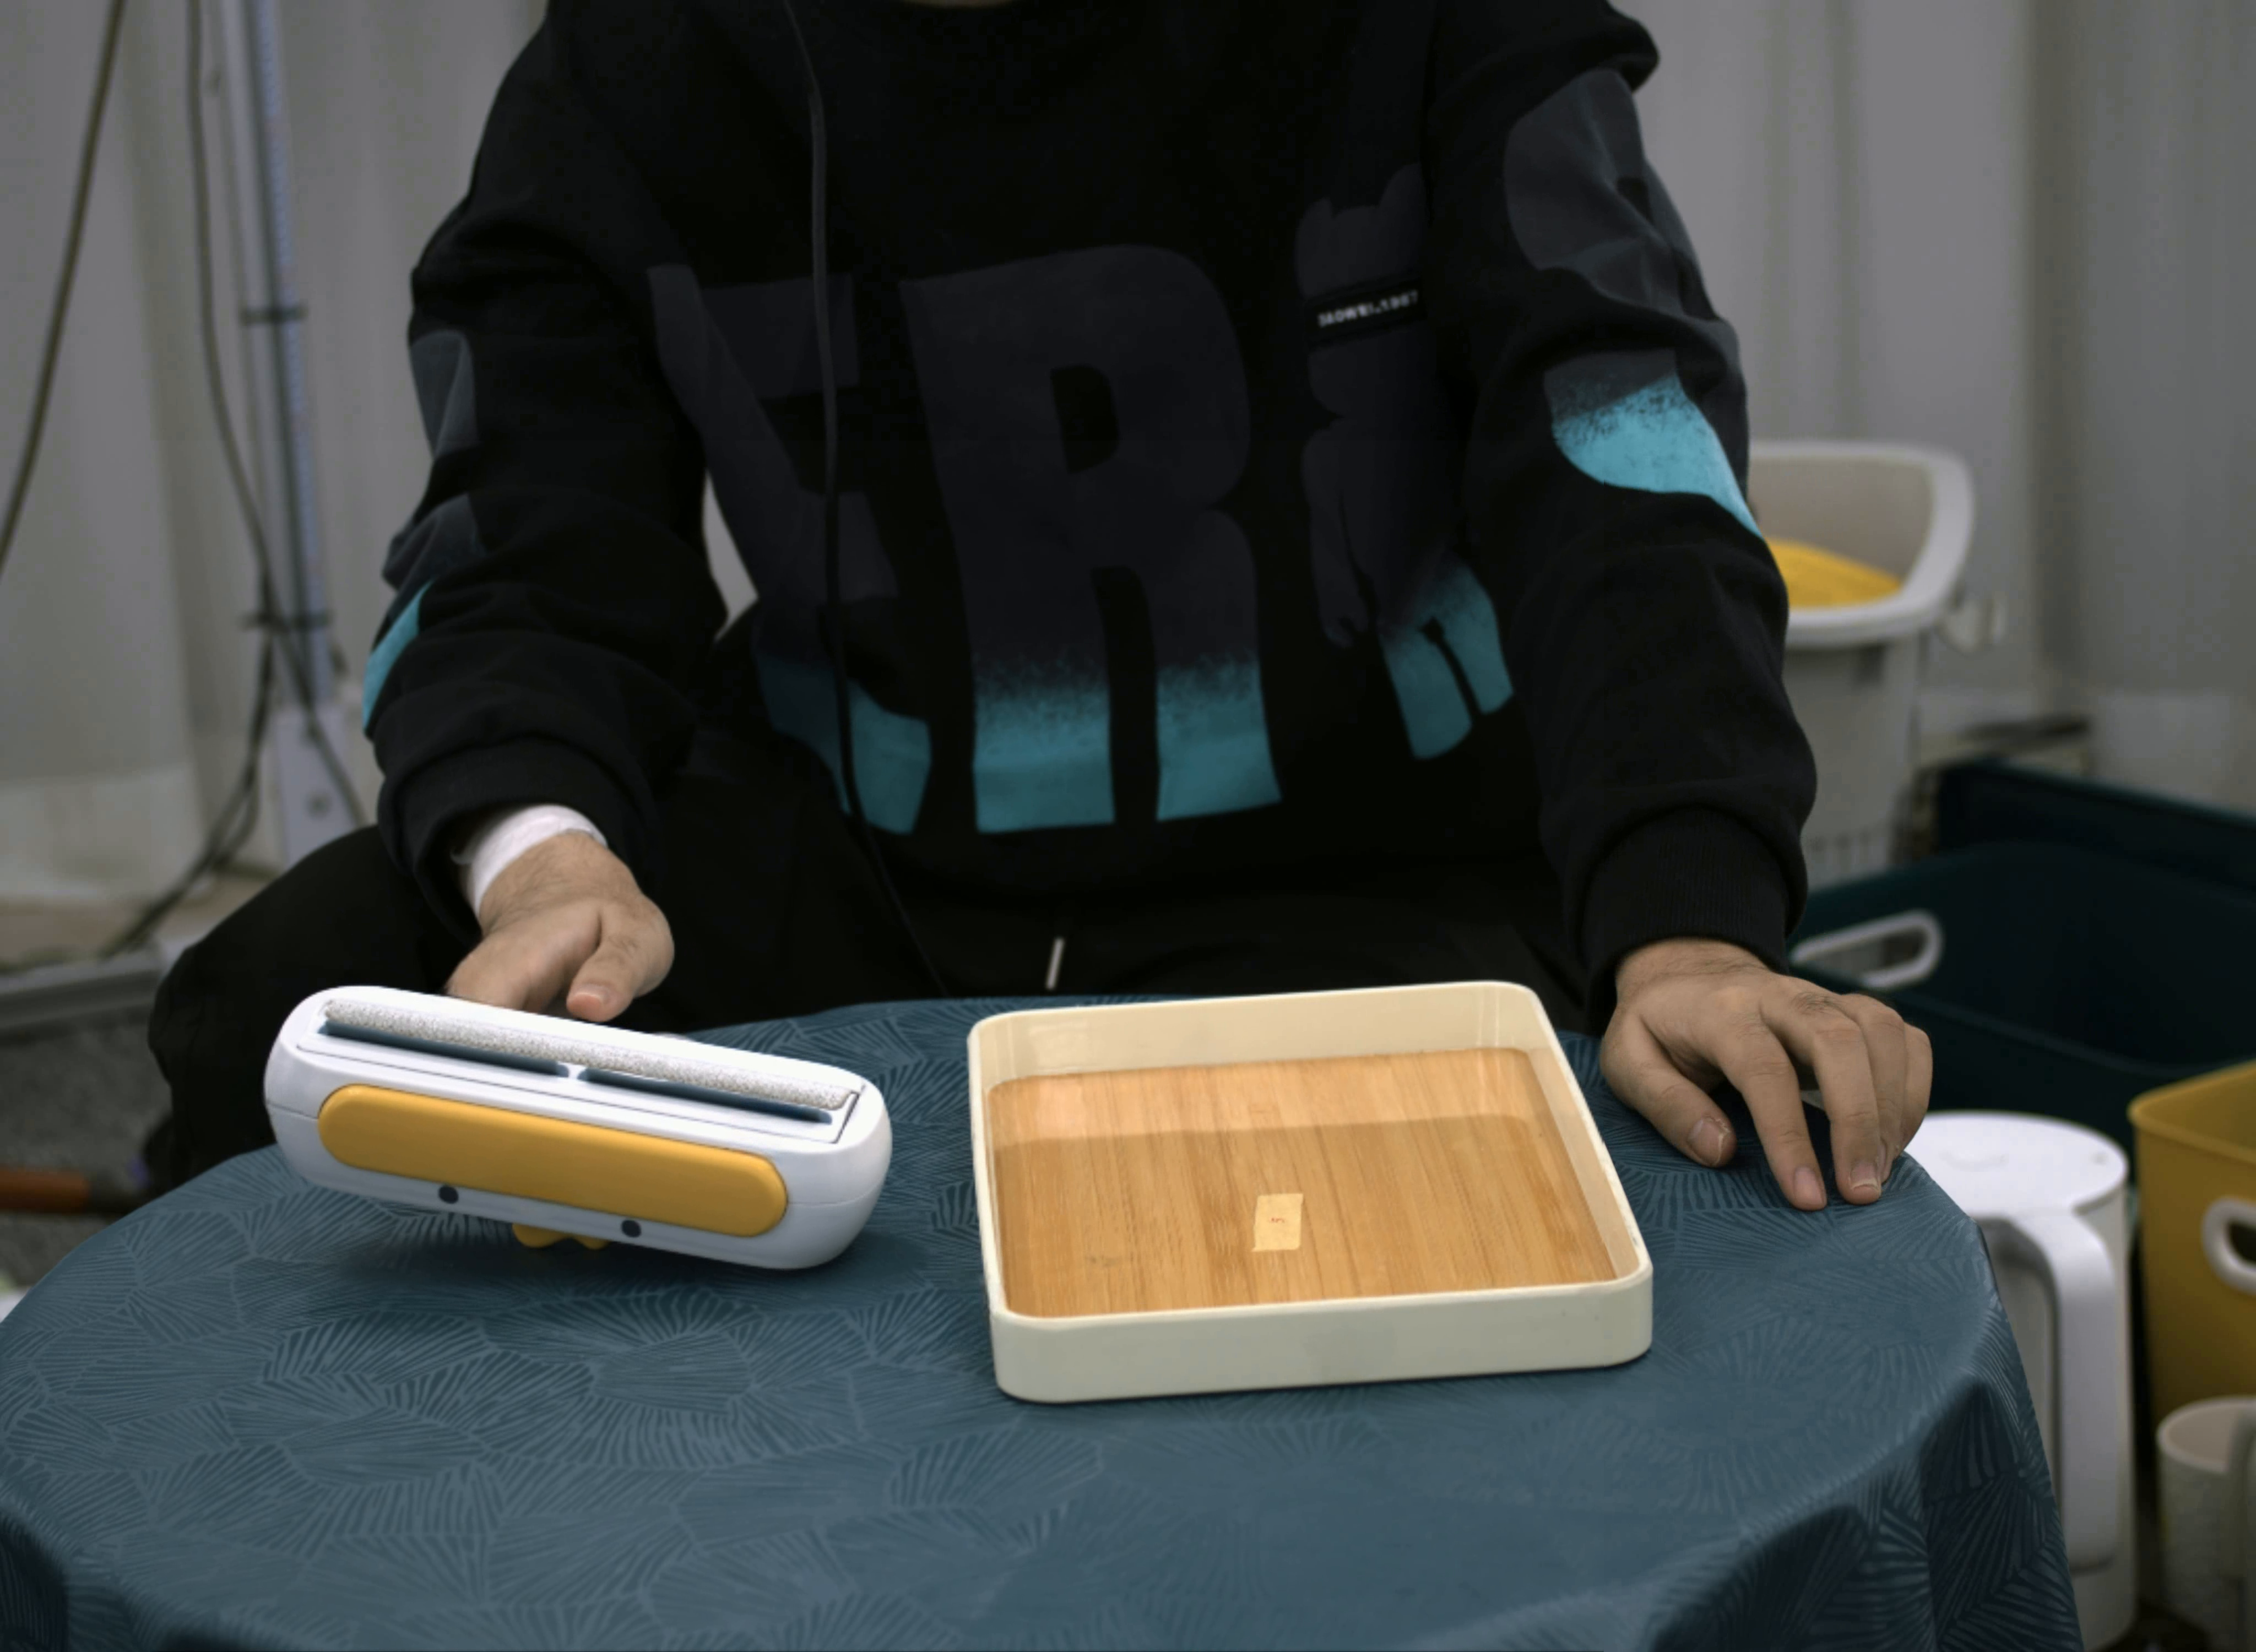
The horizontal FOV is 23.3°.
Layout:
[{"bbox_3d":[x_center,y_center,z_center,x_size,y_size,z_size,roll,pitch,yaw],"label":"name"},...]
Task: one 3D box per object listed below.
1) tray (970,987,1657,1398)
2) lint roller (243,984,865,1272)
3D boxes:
[{"bbox_3d":[0.049,0.108,1.677,0.191,0.027,0.302,-3,15,-2],"label":"tray"},{"bbox_3d":[-0.164,0.084,1.731,0.193,0.074,0.193,6,15,11],"label":"lint roller"}]
